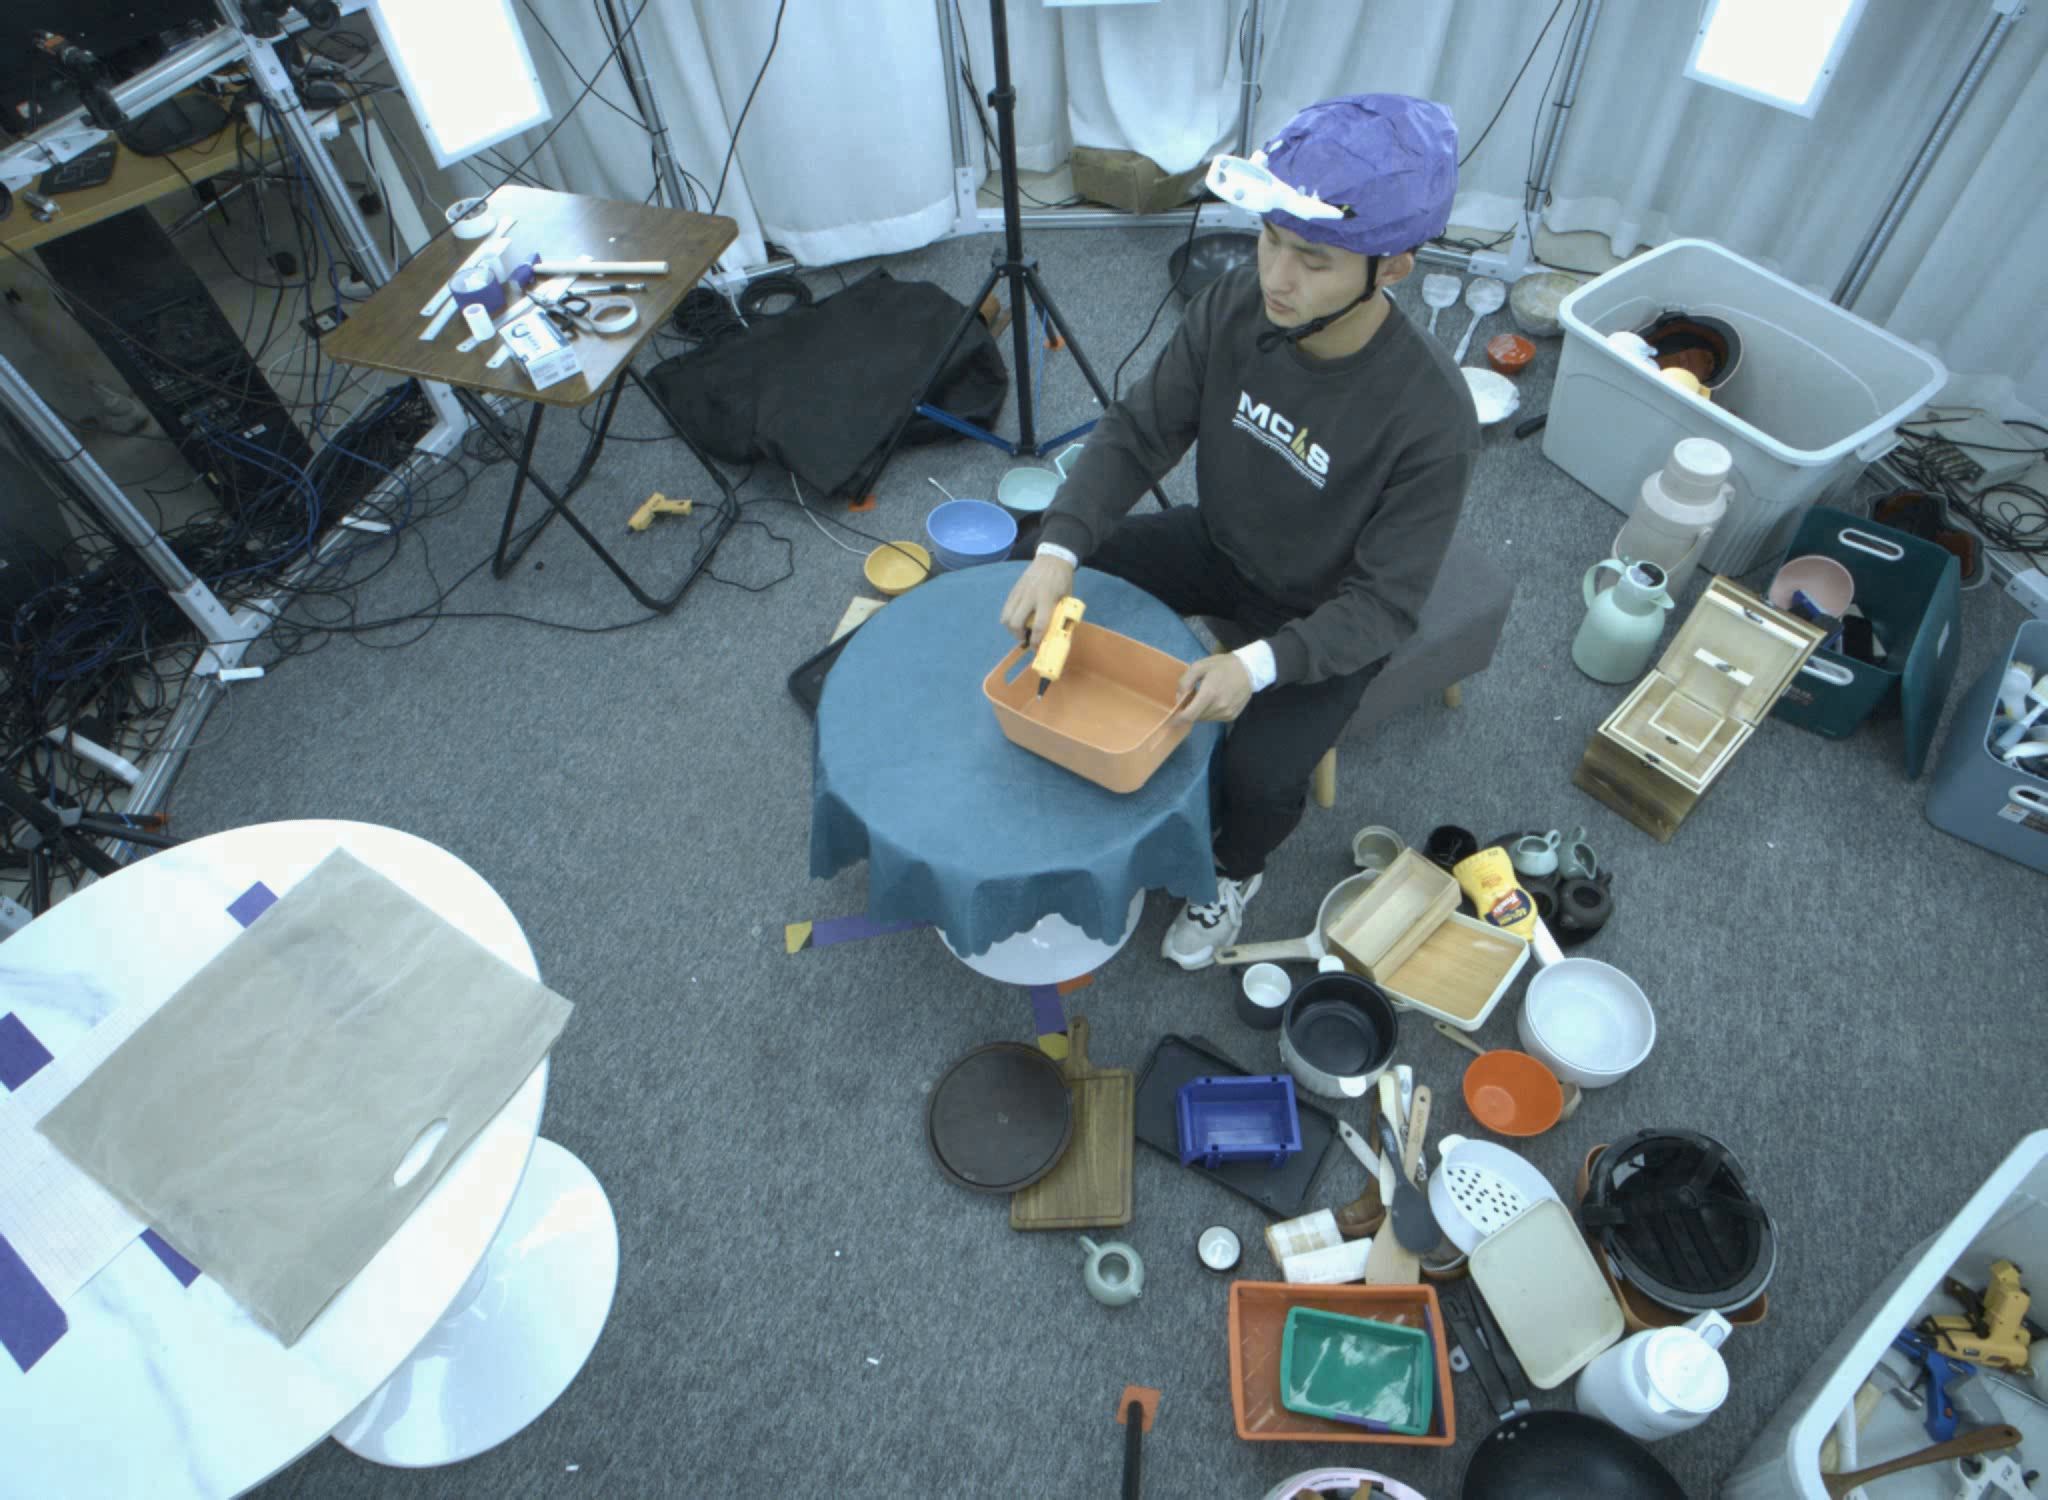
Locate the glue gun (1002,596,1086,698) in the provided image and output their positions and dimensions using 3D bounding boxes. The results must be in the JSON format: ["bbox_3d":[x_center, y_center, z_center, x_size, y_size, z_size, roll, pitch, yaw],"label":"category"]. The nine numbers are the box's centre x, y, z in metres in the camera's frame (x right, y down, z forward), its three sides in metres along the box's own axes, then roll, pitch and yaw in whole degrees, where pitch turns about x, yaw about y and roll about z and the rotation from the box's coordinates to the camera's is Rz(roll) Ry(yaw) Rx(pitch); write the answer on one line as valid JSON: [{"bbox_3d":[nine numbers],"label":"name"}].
[{"bbox_3d":[0.011,-0.143,1.710,0.130,0.032,0.151,6,72,38],"label":"glue gun"}]

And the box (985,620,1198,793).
[{"bbox_3d":[0.100,-0.063,1.745,0.267,0.104,0.200,25,58,30],"label":"box"}]
